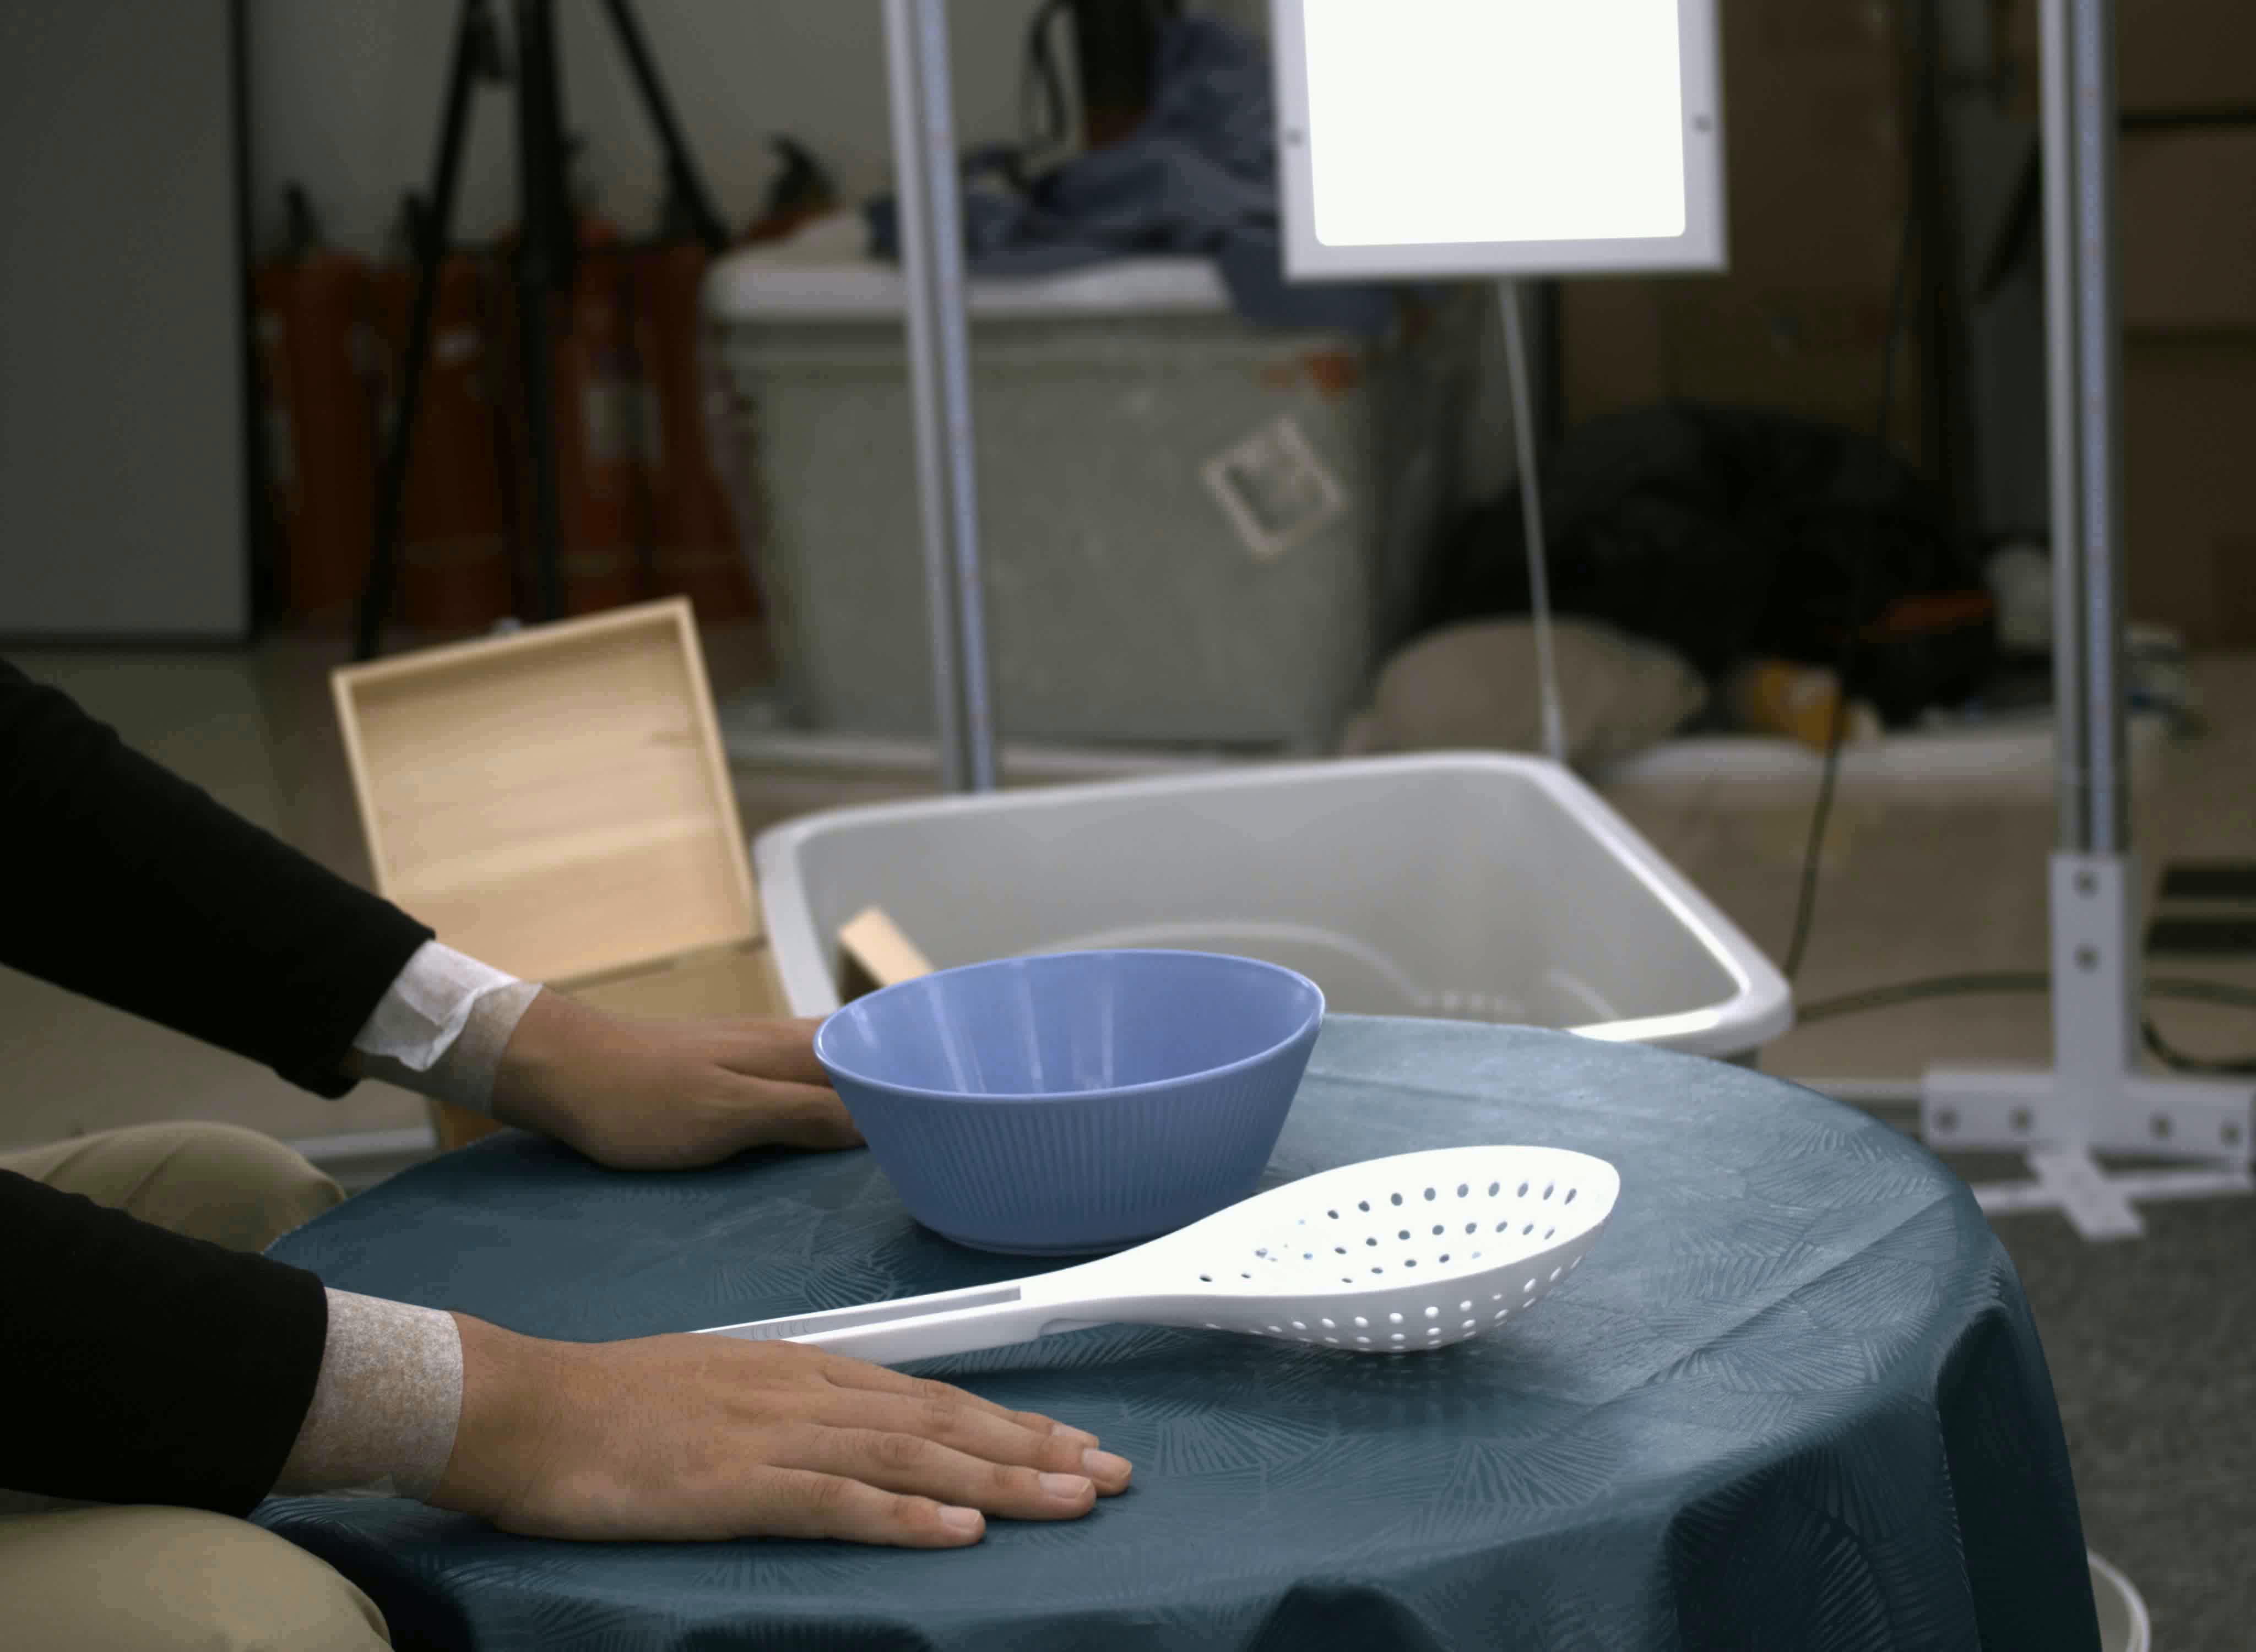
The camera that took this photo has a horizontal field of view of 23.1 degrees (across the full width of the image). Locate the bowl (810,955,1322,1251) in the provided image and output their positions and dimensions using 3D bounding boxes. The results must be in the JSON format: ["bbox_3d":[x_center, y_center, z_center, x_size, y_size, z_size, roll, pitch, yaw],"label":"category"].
[{"bbox_3d":[-0.018,0.097,1.879,0.175,0.070,0.176,-6,13,0],"label":"bowl"}]

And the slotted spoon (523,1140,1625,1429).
[{"bbox_3d":[-0.017,0.148,1.722,0.349,0.046,0.136,-6,14,1],"label":"slotted spoon"}]
